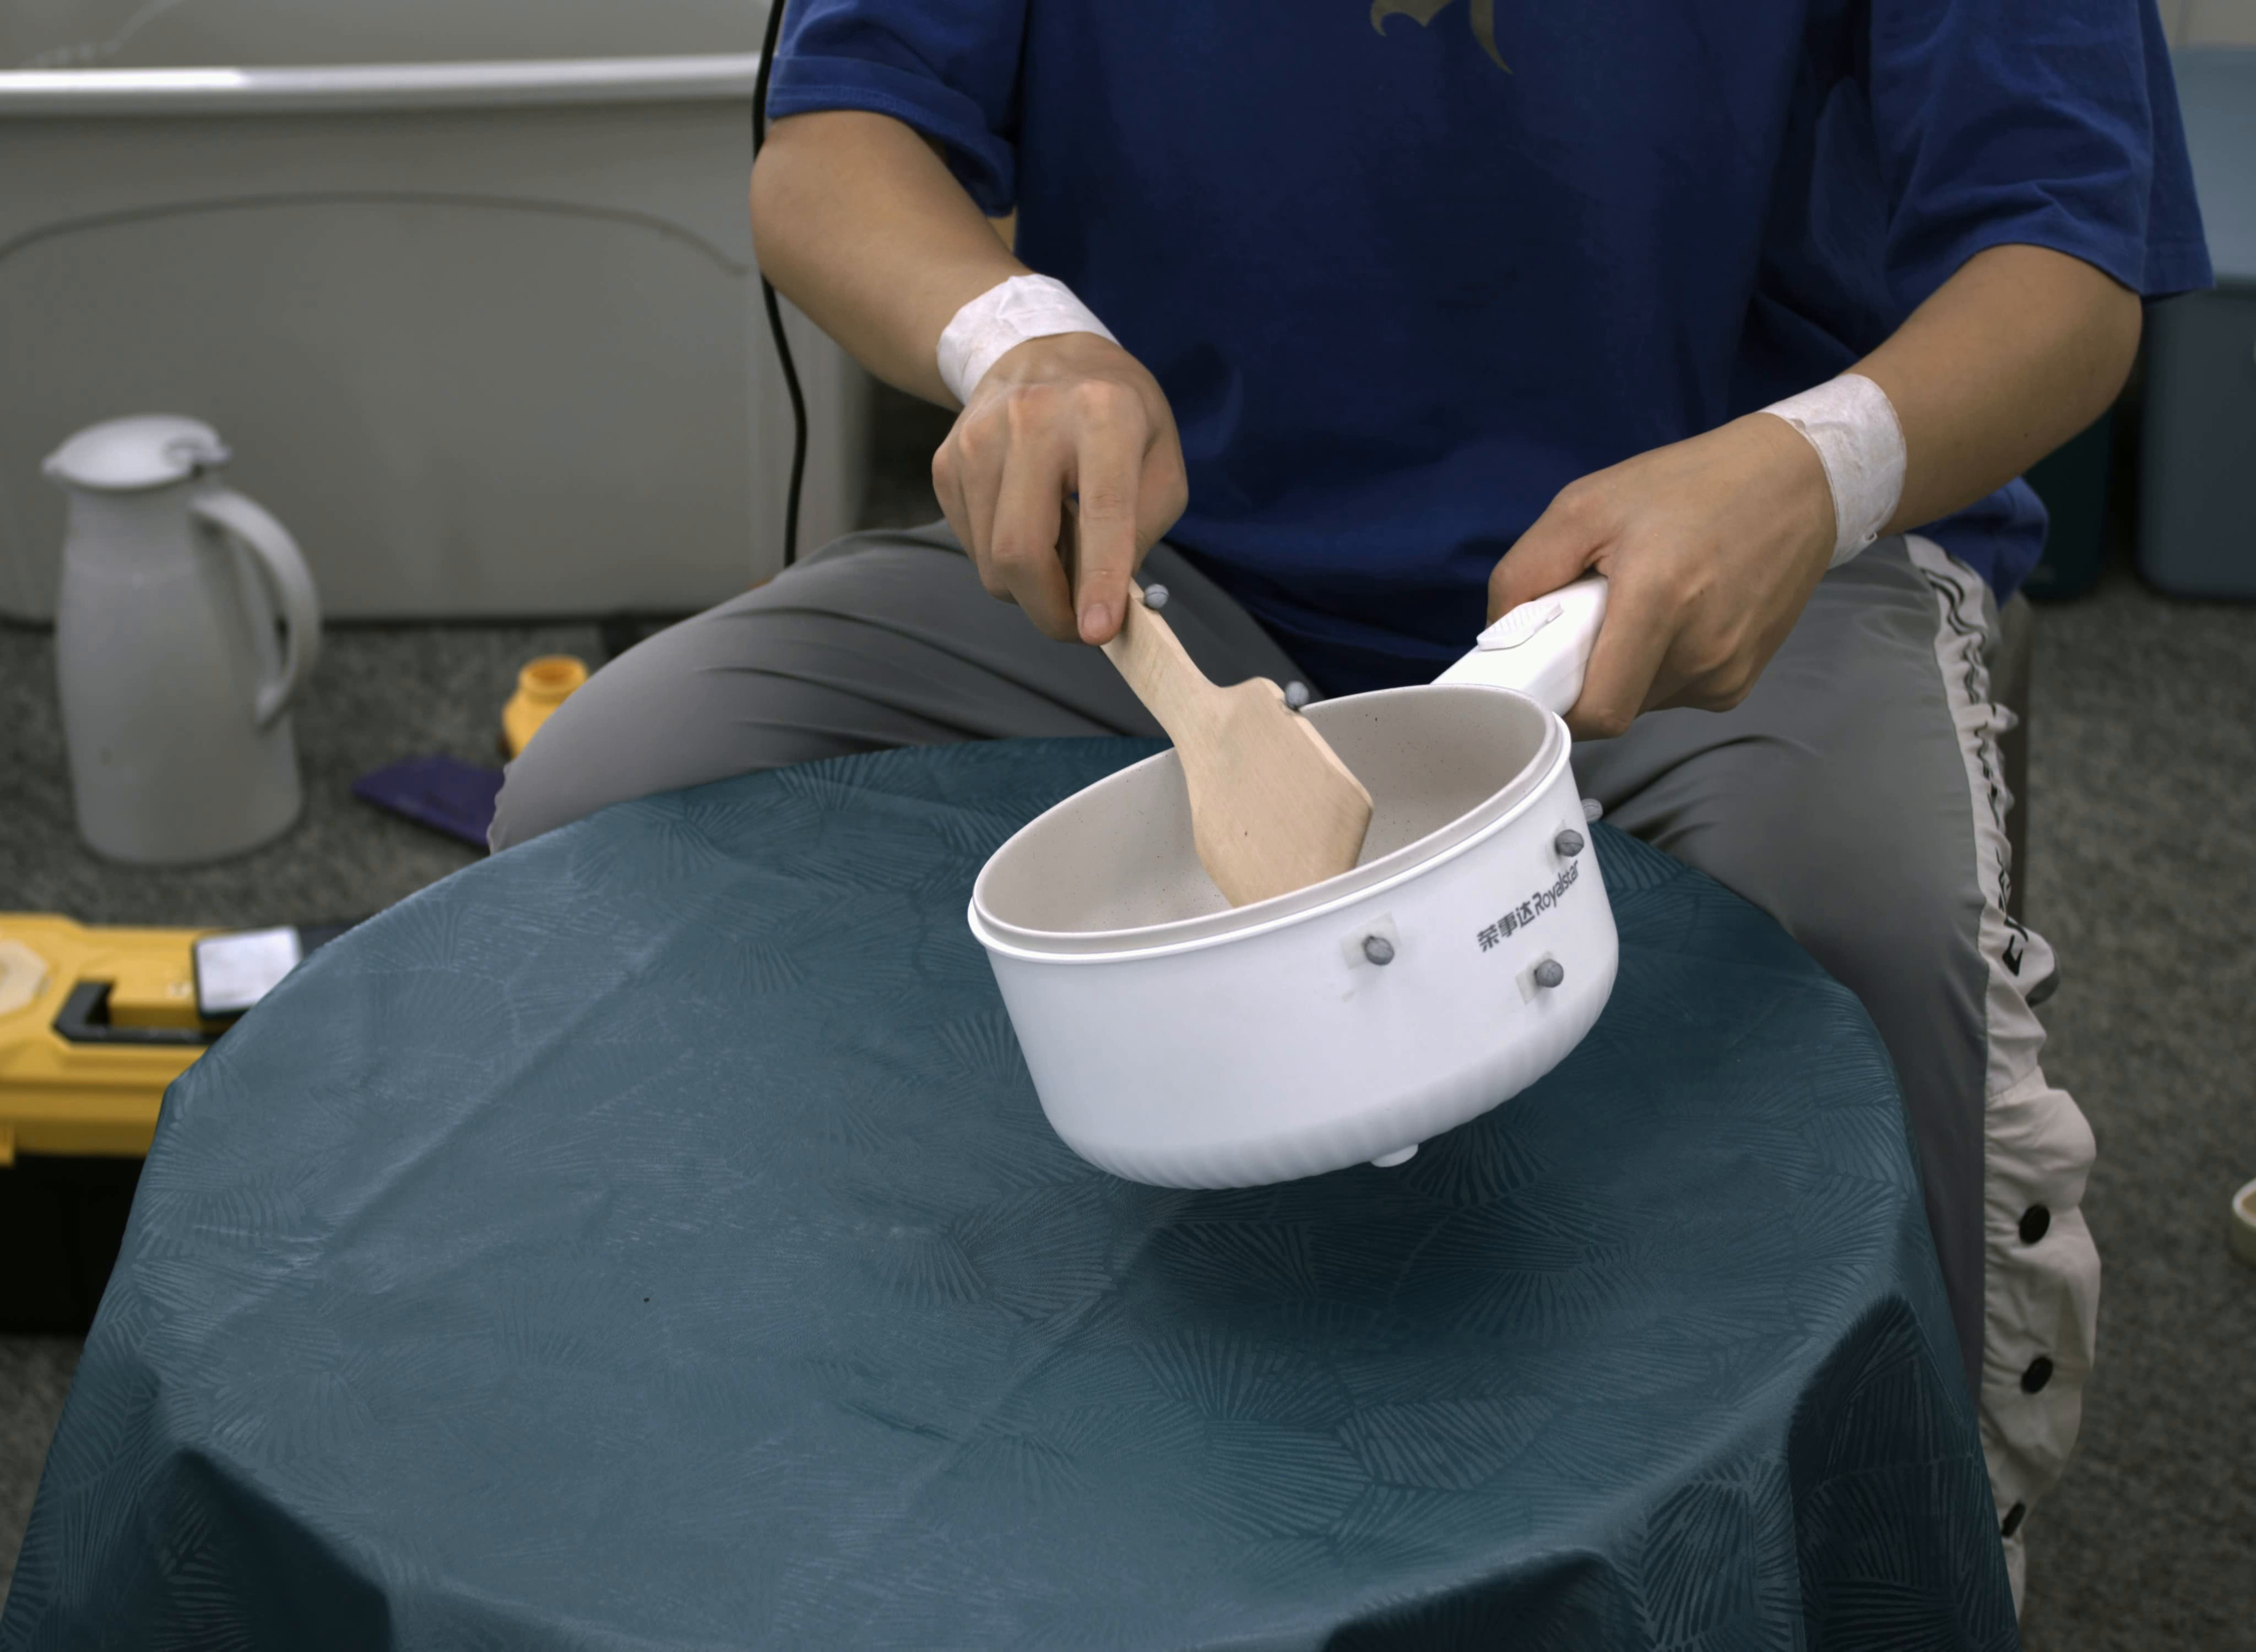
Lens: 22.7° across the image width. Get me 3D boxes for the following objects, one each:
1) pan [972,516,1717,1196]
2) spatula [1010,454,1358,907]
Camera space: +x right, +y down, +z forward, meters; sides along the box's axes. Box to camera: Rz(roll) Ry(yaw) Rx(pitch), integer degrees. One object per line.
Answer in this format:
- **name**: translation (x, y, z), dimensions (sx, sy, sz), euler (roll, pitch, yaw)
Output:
- **pan**: translation (0.101, 0.009, 1.862), dimensions (0.199, 0.101, 0.360), euler (-8, 19, 39)
- **spatula**: translation (0.011, -0.053, 1.895), dimensions (0.010, 0.071, 0.296), euler (6, 27, -26)
